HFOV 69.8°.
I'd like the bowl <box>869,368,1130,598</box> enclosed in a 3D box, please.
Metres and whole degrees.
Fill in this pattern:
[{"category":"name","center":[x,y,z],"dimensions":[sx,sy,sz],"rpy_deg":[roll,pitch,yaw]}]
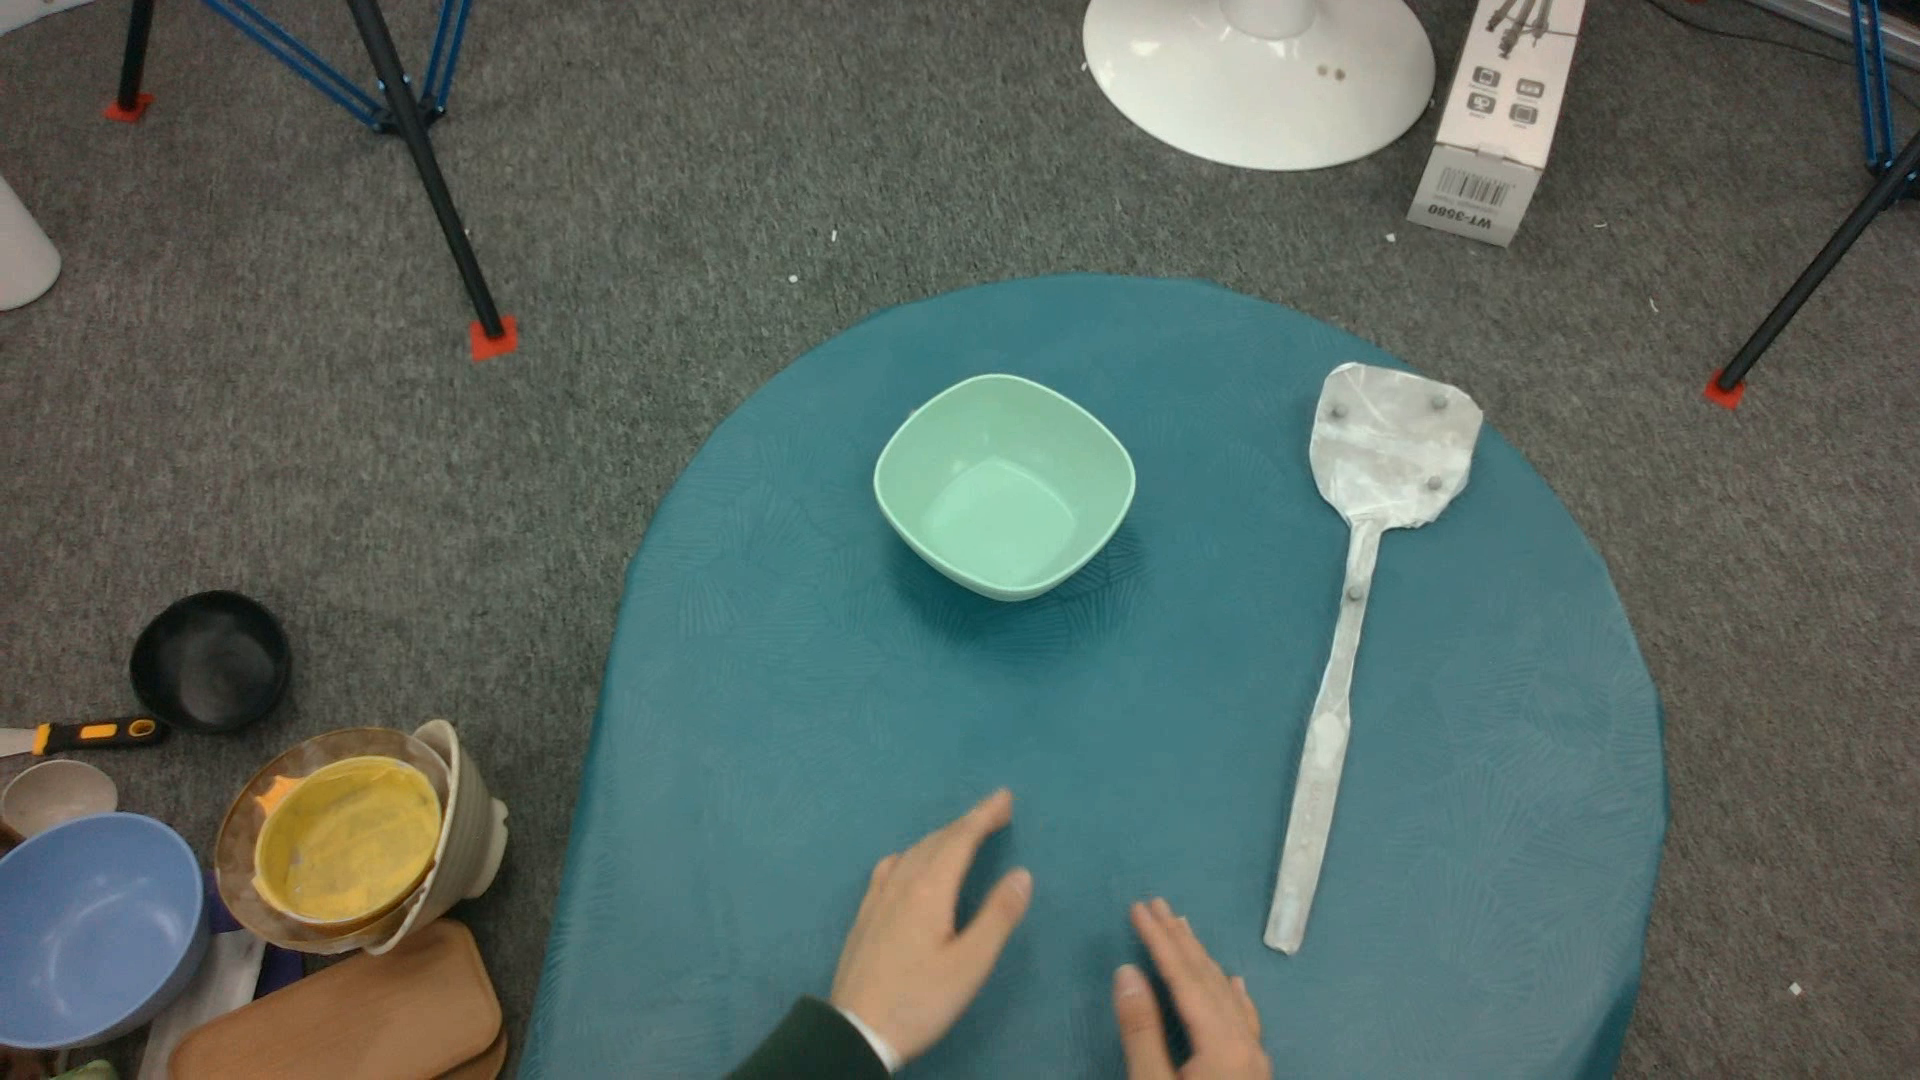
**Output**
[{"category":"bowl","center":[0.023,-0.025,0.815],"dimensions":[0.151,0.058,0.152],"rpy_deg":[0,61,0]}]

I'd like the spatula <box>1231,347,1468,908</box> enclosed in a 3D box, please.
[{"category":"spatula","center":[0.214,0.040,0.790],"dimensions":[0.098,0.044,0.366],"rpy_deg":[19,59,6]}]
